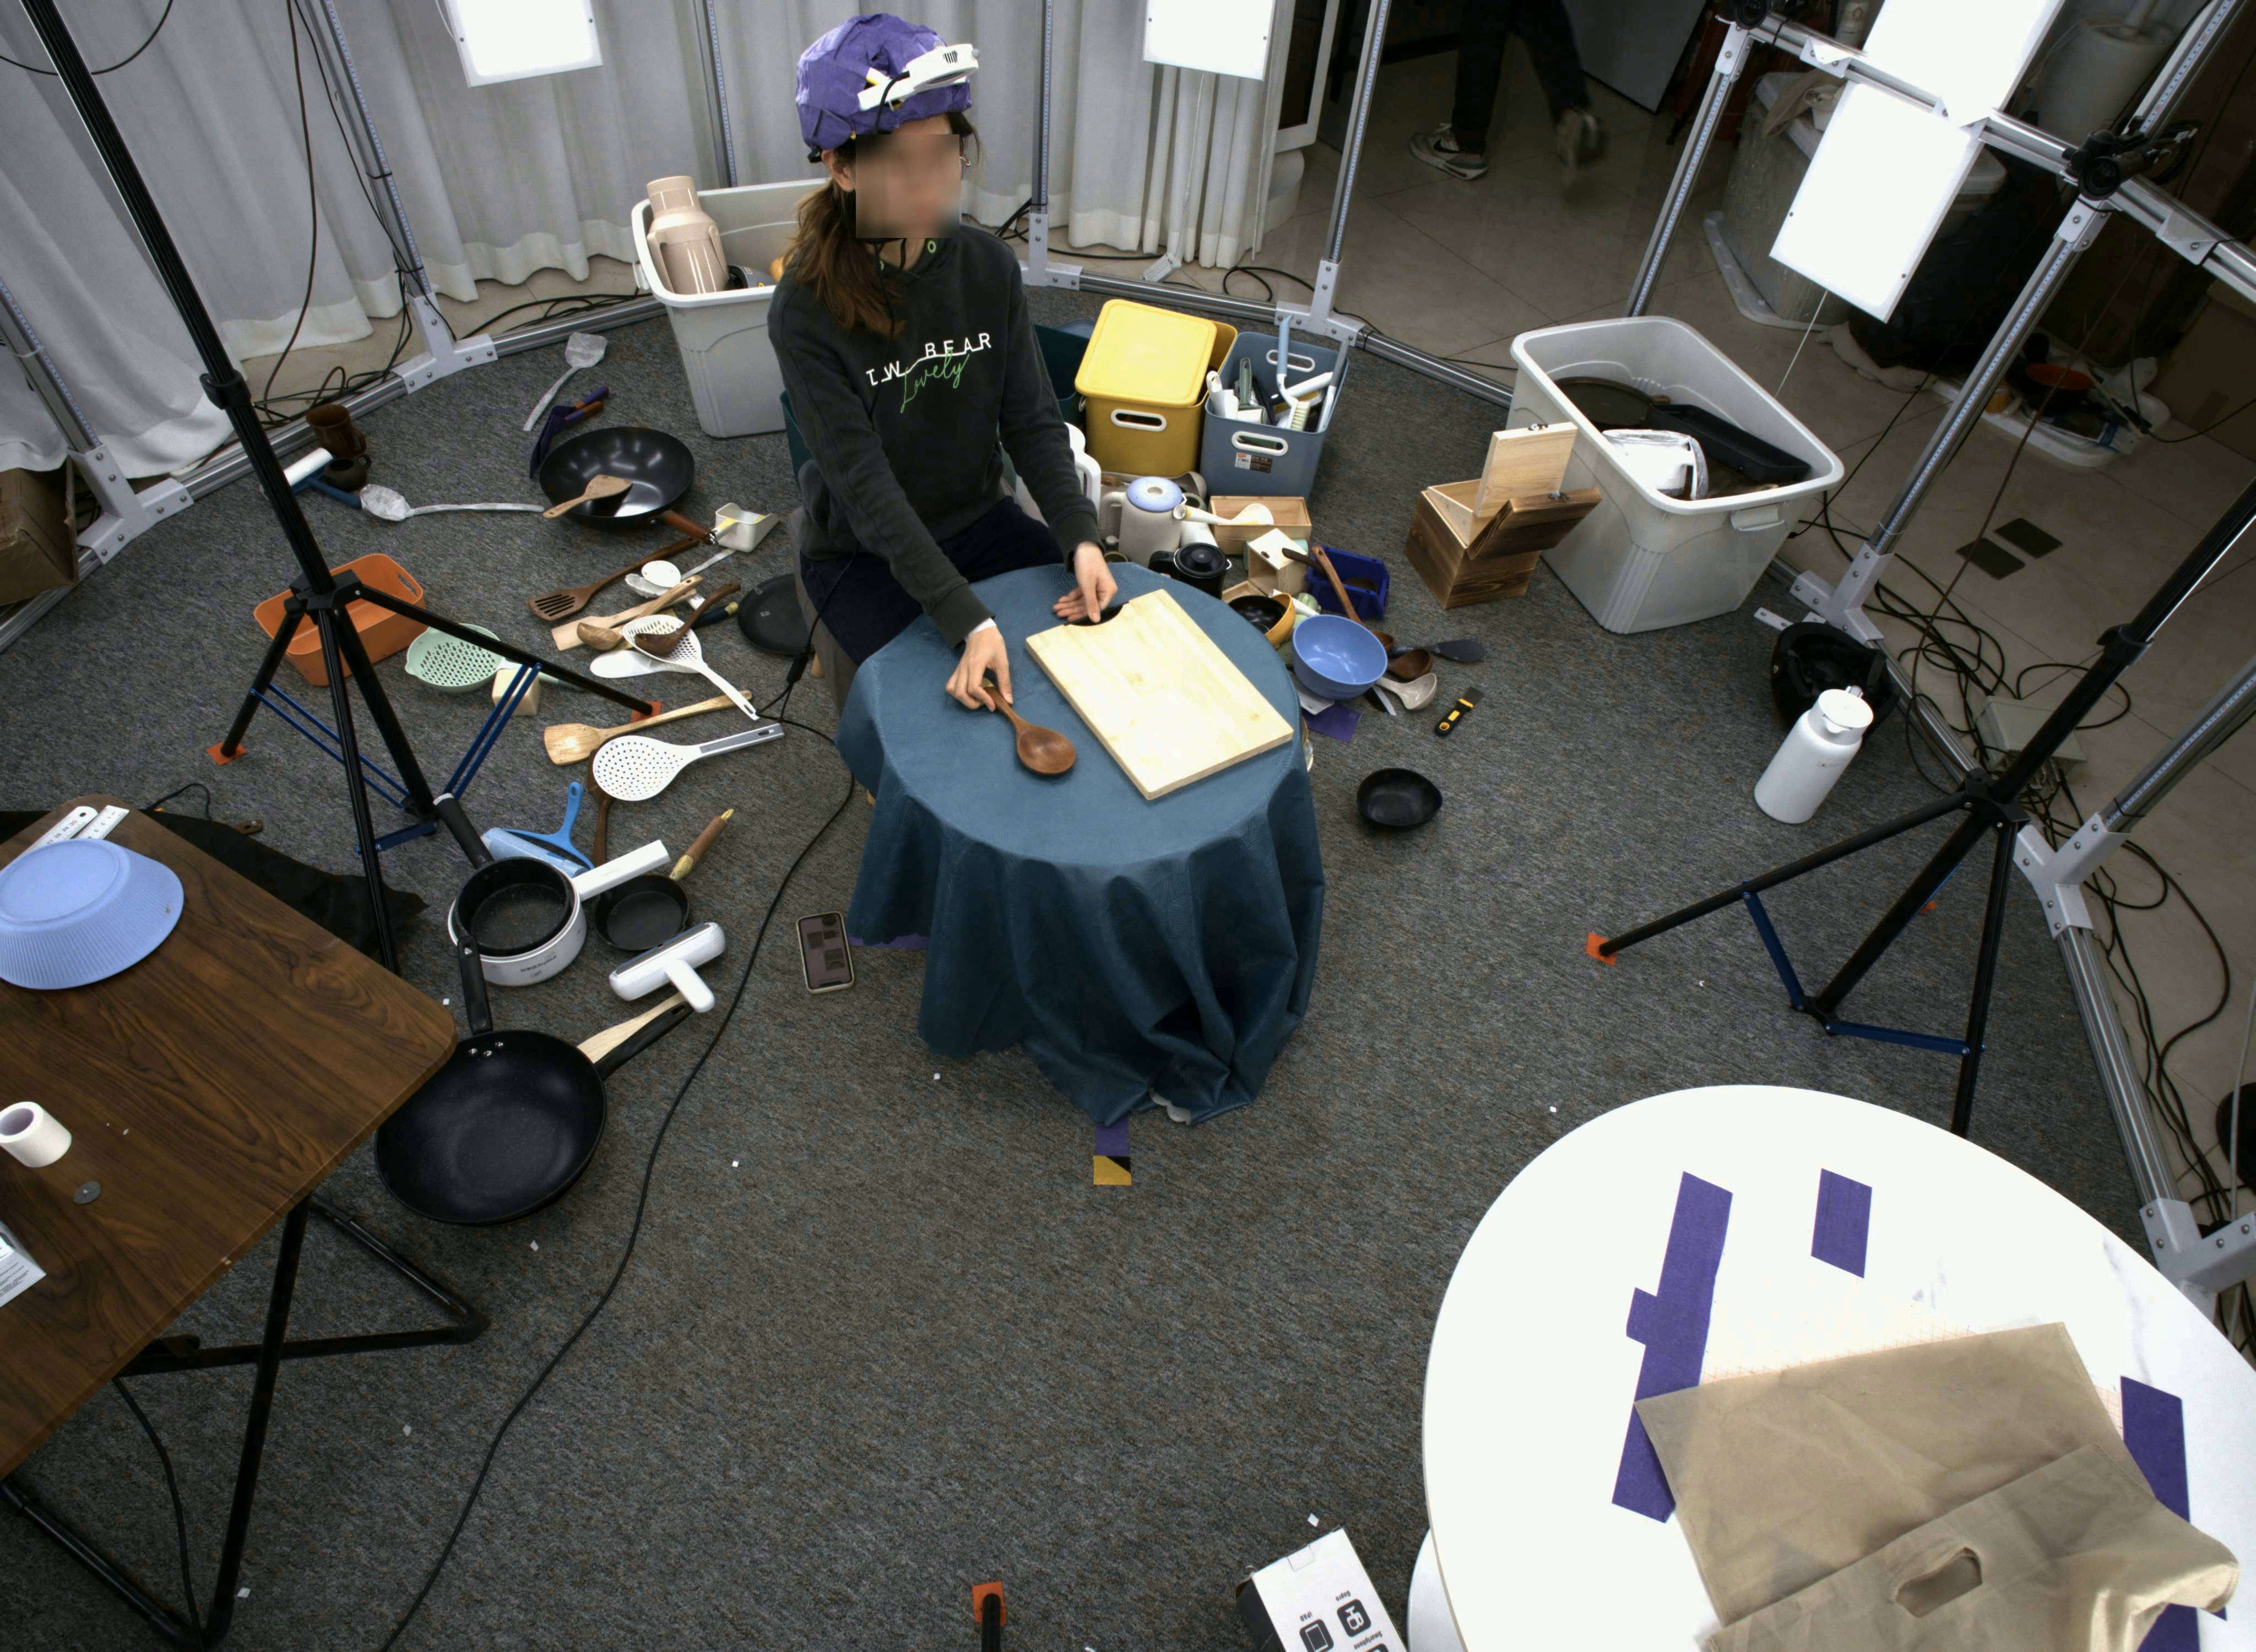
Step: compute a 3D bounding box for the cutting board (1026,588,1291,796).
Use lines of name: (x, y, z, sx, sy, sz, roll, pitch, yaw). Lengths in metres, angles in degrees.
cutting board: (0.038, -0.201, 1.852, 0.251, 0.023, 0.356, -23, 54, -23)

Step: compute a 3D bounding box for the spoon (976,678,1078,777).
spoon: (-0.147, -0.139, 1.784, 0.076, 0.017, 0.220, -28, 57, -23)
